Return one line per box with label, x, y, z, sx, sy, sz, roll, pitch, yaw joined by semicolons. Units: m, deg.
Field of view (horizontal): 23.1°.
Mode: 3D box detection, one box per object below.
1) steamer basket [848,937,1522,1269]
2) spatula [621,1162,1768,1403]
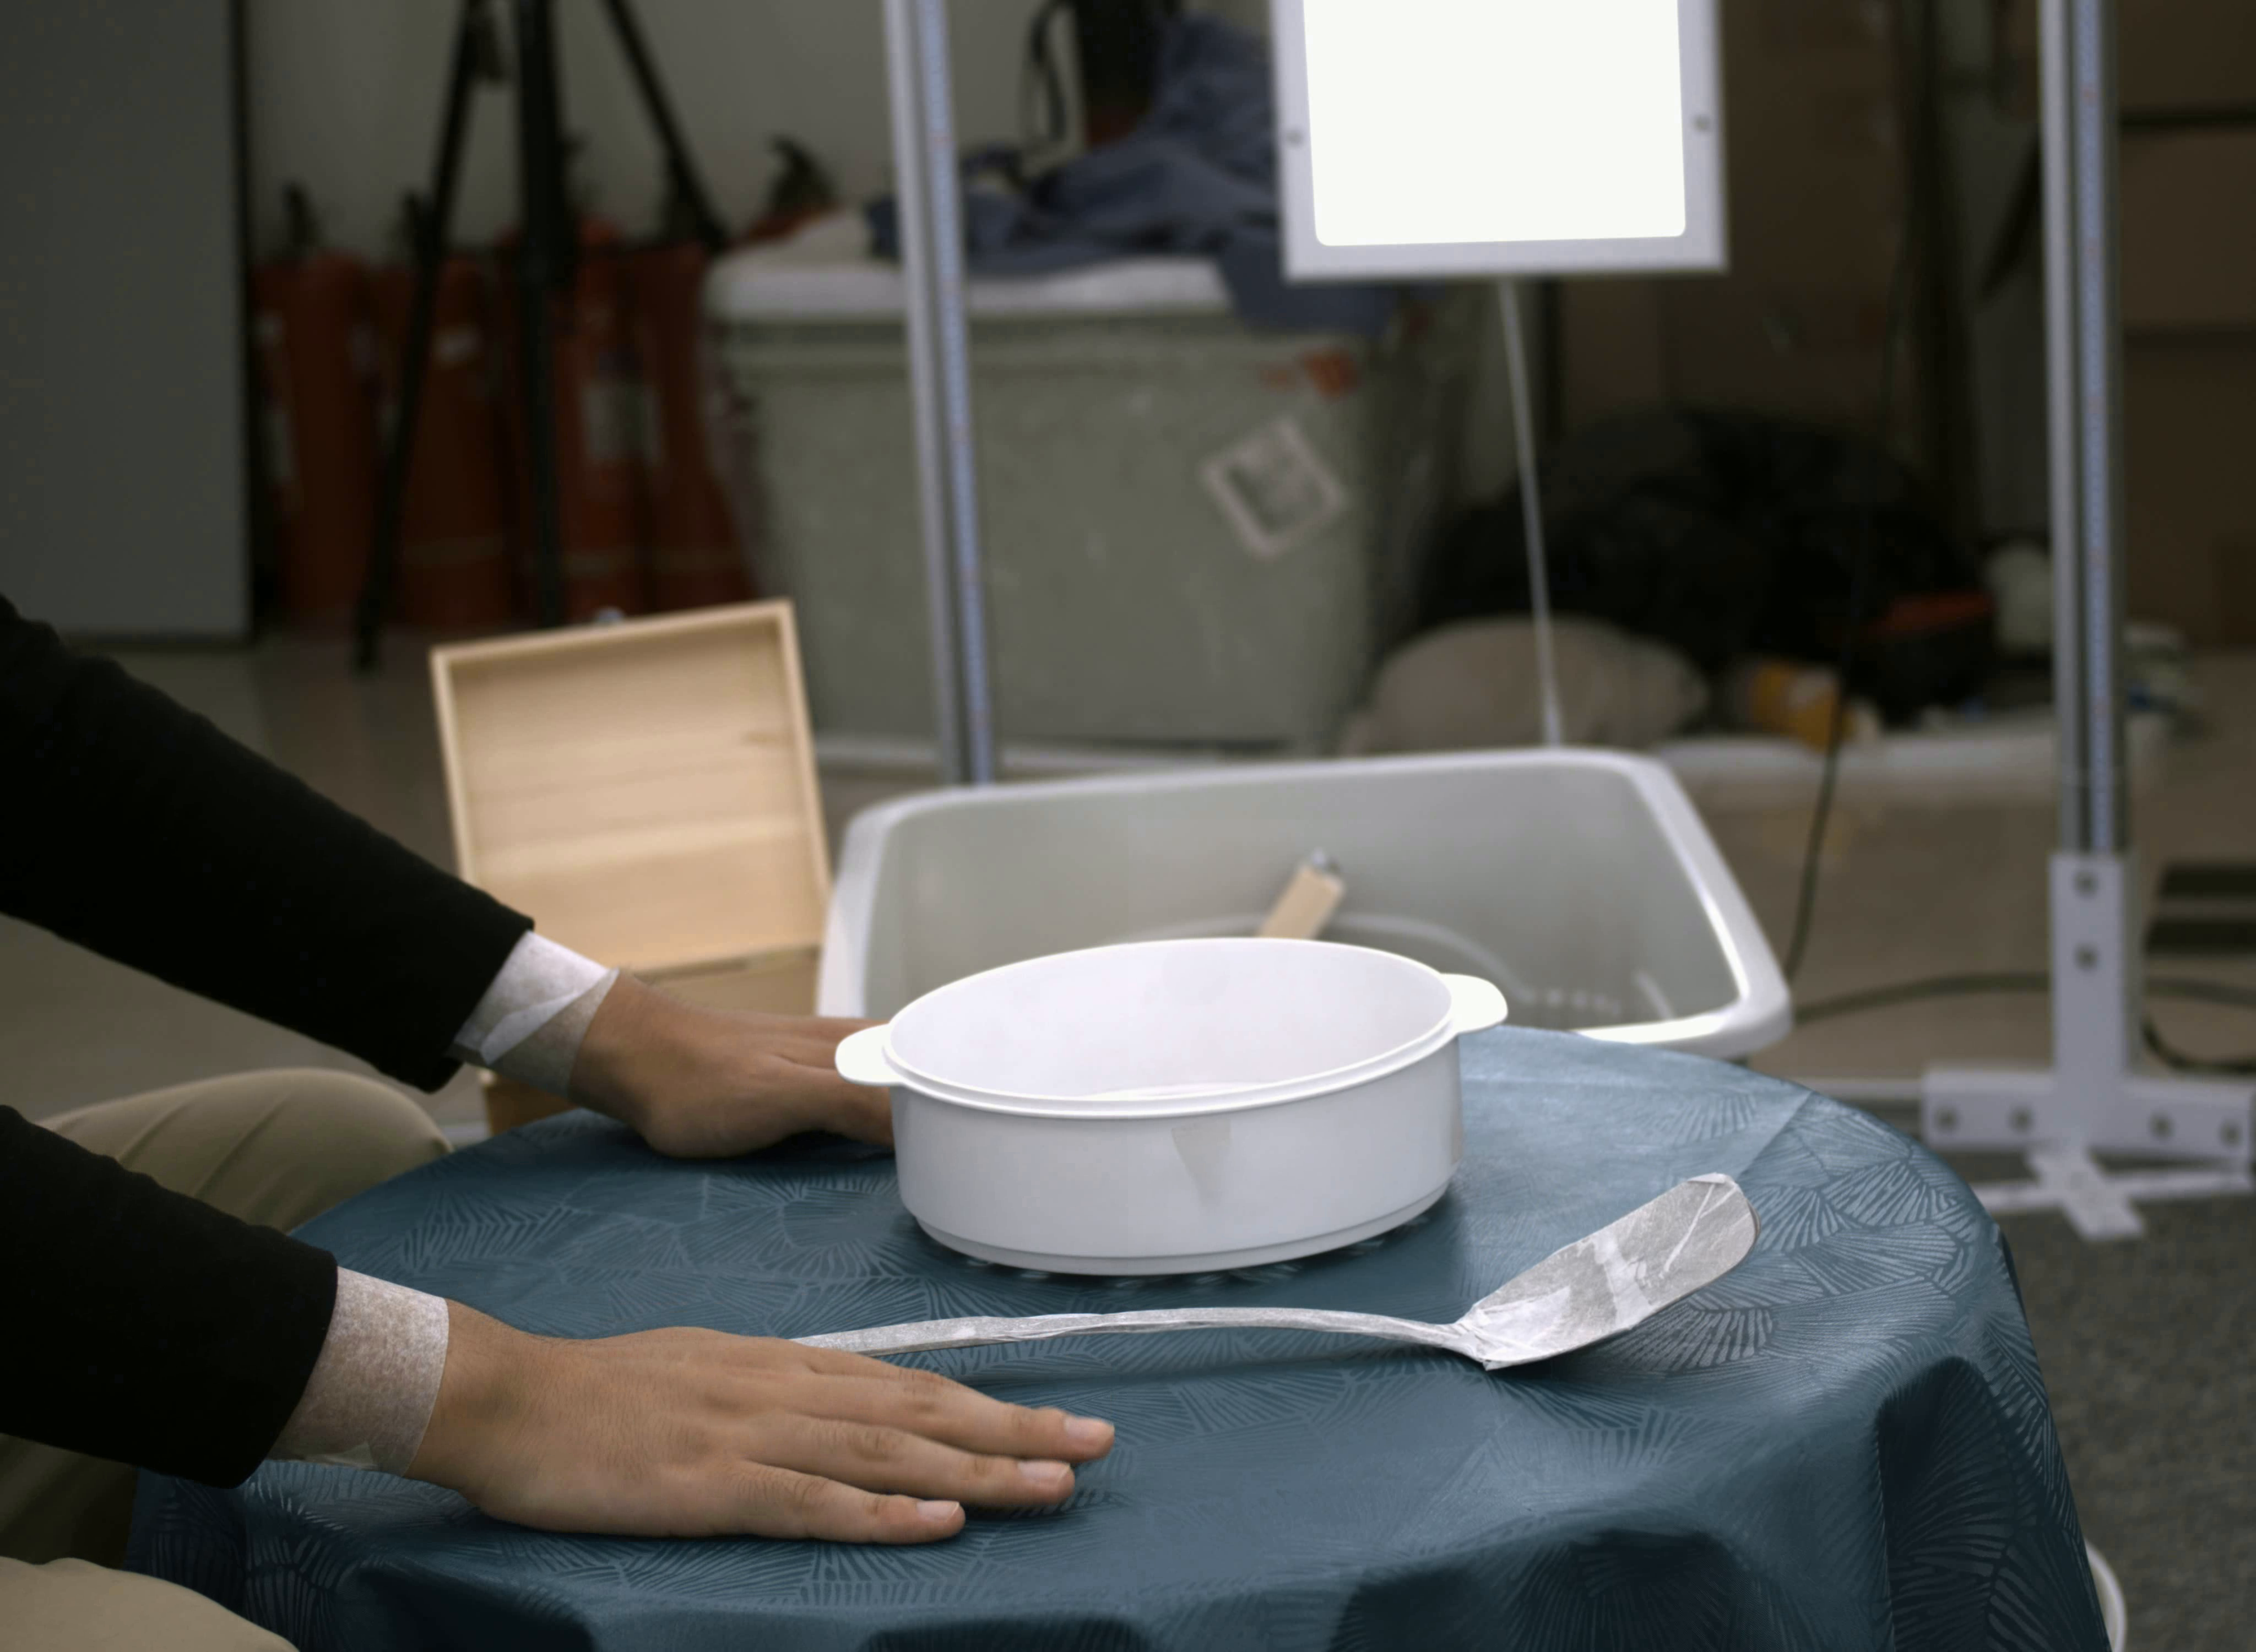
steamer basket;0.022;0.094;1.874;0.230;0.069;0.202;-6;13;0
spatula;0.018;0.150;1.717;0.365;0.045;0.098;-4;16;5
